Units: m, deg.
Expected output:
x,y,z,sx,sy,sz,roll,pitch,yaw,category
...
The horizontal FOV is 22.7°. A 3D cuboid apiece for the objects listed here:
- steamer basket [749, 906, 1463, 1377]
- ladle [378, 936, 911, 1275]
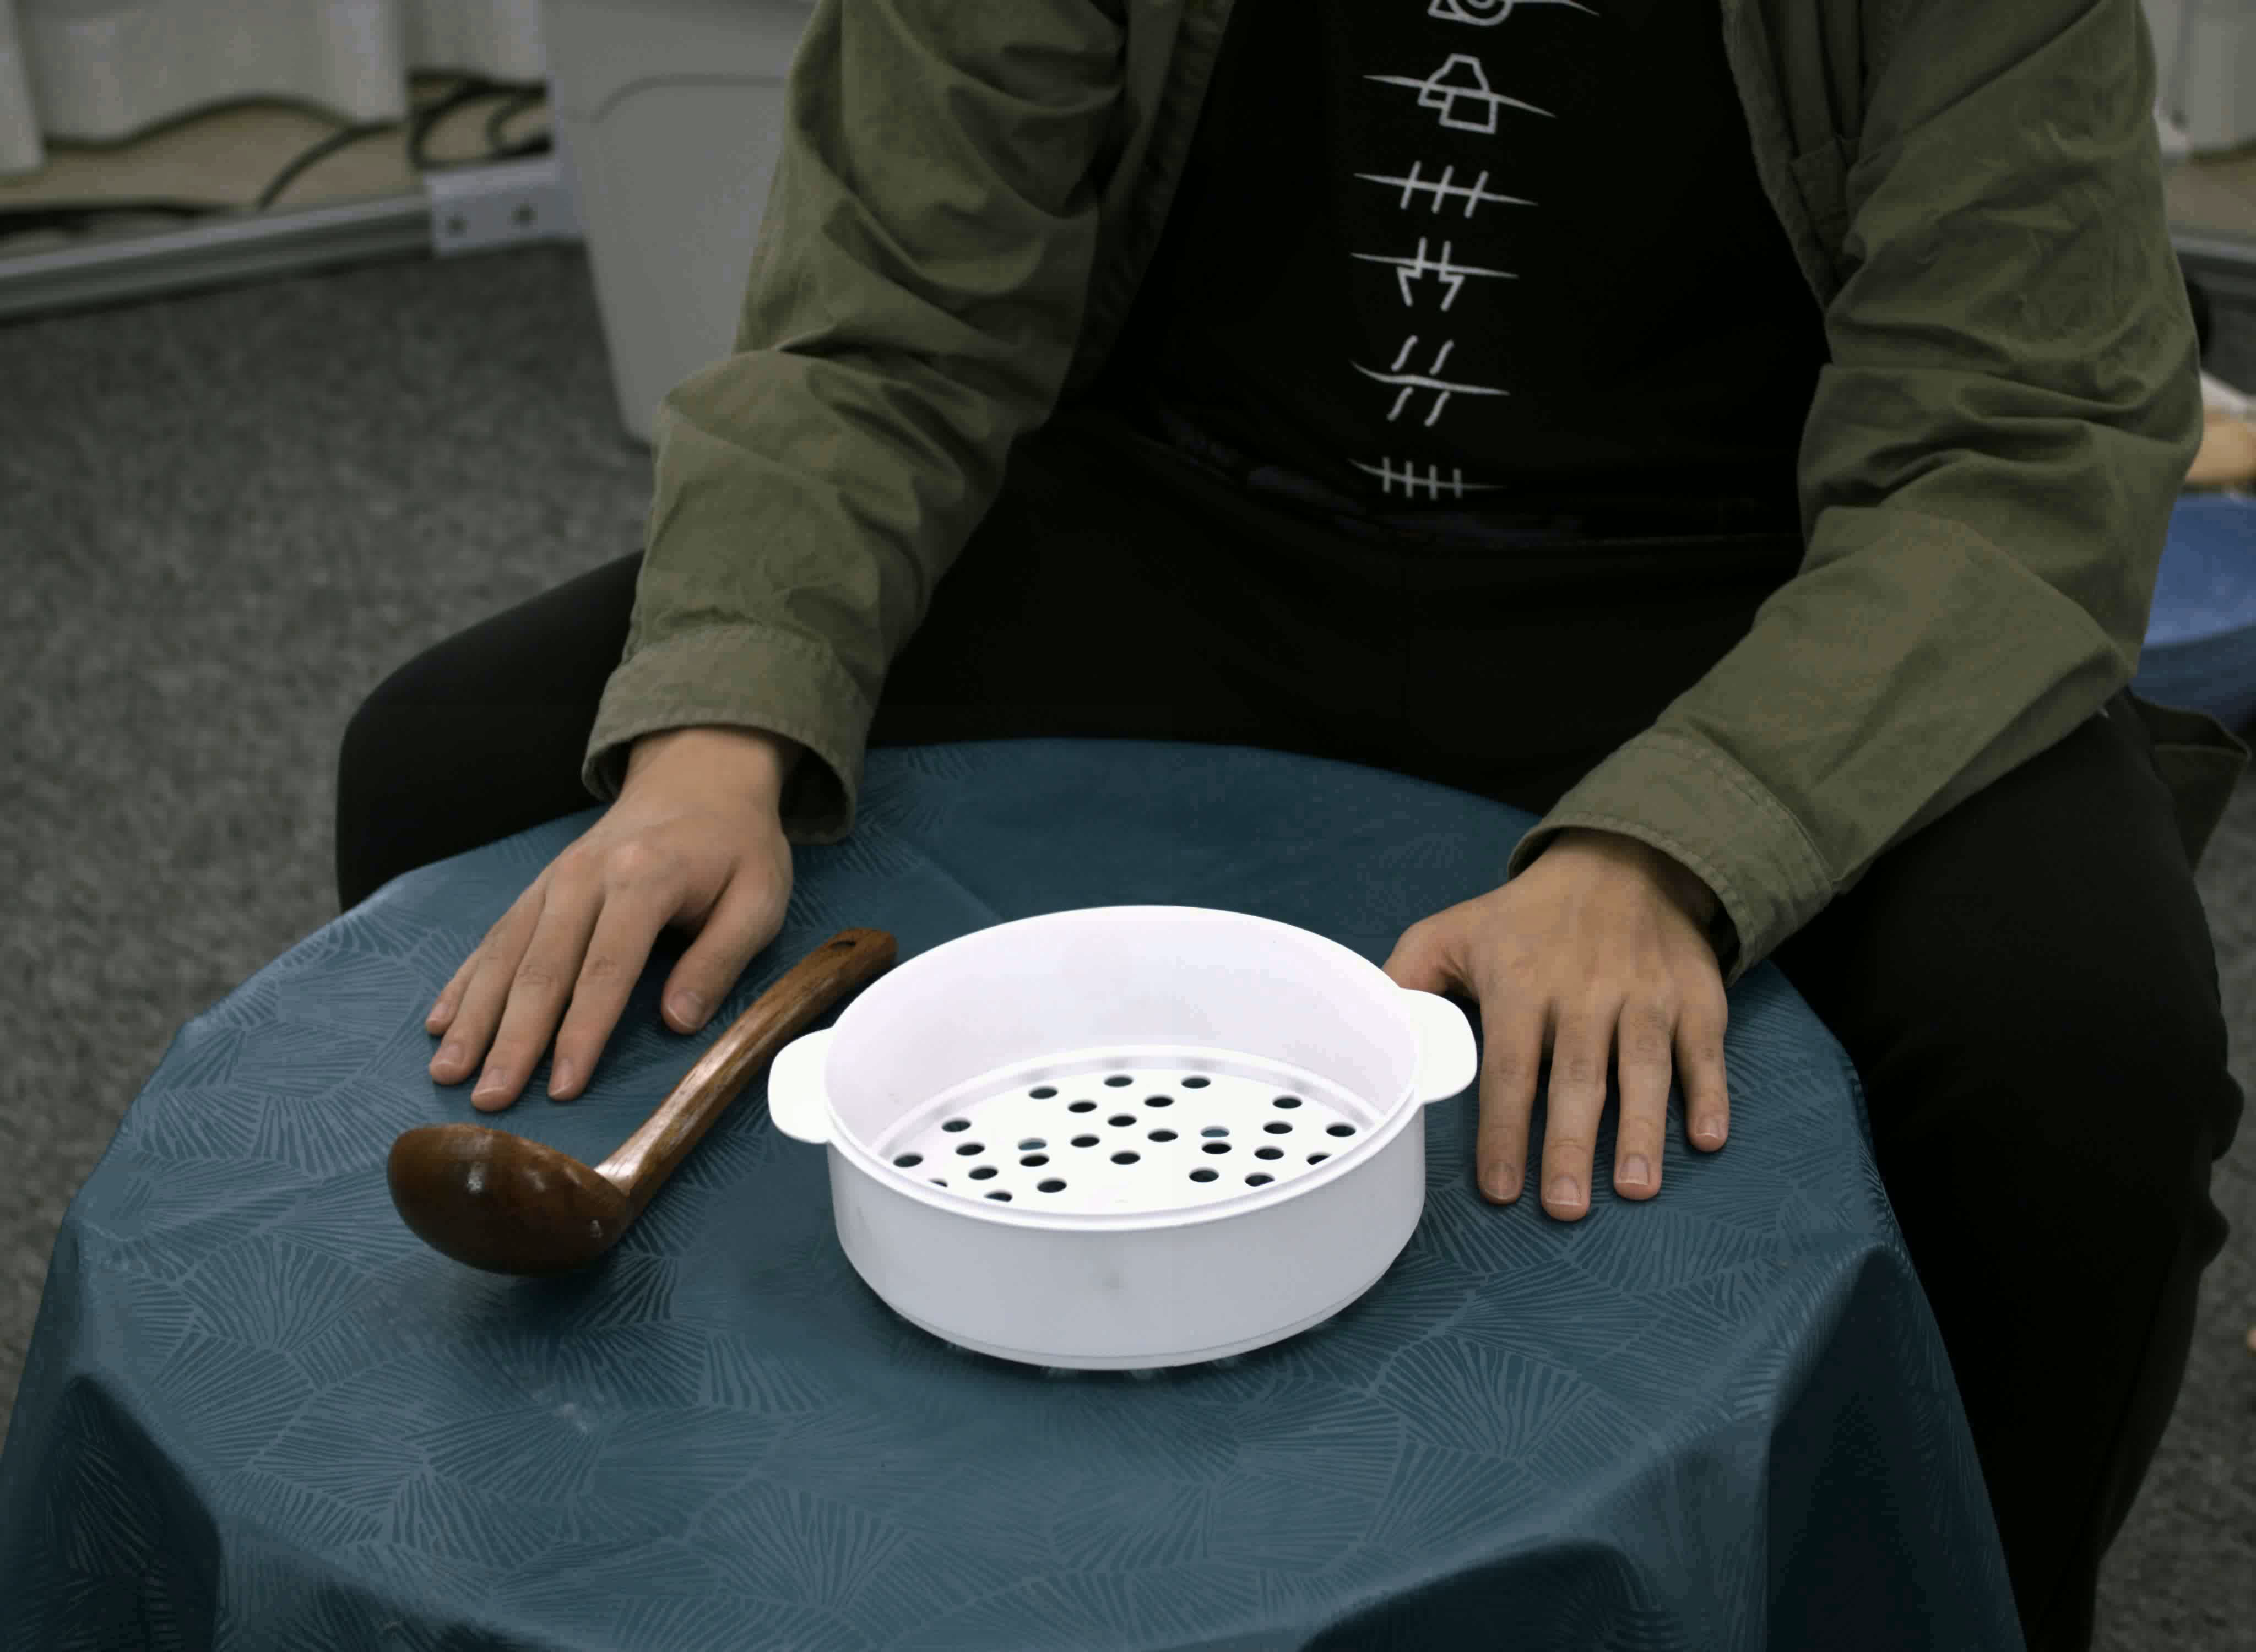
x,y,z,sx,sy,sz,roll,pitch,yaw,category
-0.006,0.103,1.822,0.229,0.068,0.205,-2,28,-2,steamer basket
-0.154,0.073,1.885,0.081,0.076,0.278,6,28,26,ladle
